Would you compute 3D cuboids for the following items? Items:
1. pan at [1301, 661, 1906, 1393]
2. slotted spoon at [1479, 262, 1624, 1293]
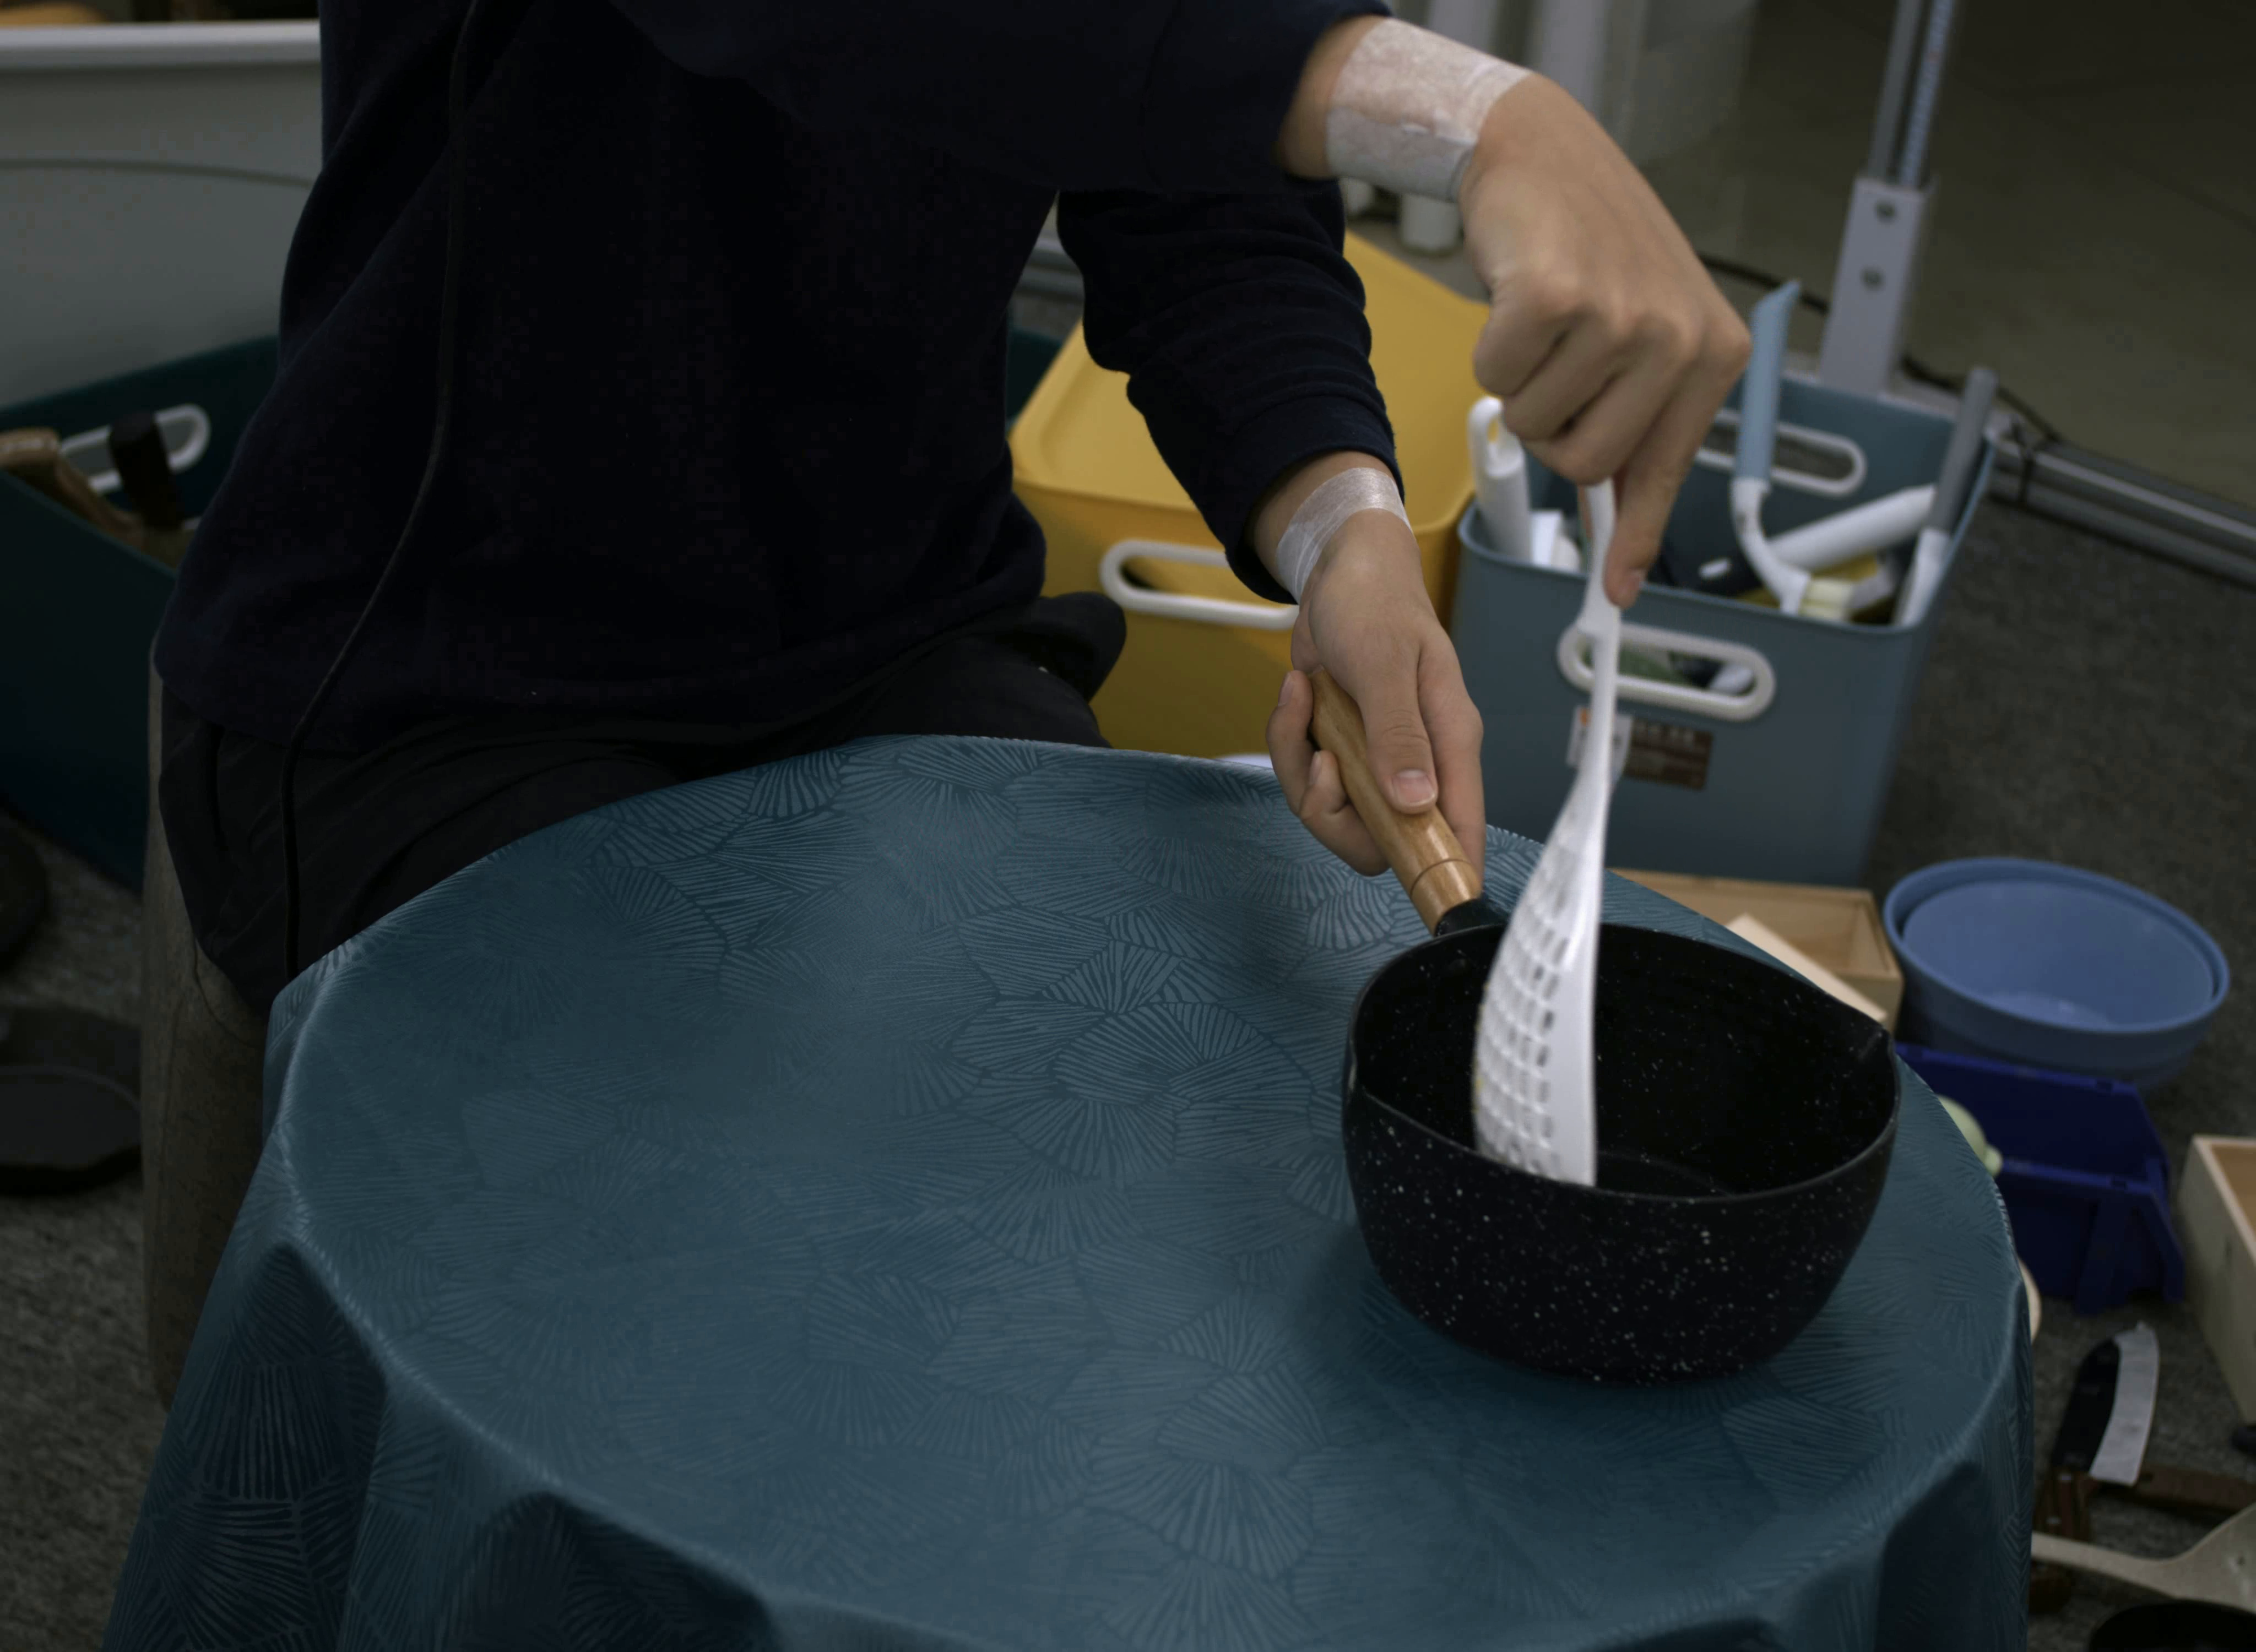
[{"bbox_3d":[0.130,0.065,1.827,0.206,0.108,0.346,-7,31,-23],"label":"pan"},{"bbox_3d":[0.142,-0.013,1.691,0.050,0.347,0.137,5,24,2],"label":"slotted spoon"}]
